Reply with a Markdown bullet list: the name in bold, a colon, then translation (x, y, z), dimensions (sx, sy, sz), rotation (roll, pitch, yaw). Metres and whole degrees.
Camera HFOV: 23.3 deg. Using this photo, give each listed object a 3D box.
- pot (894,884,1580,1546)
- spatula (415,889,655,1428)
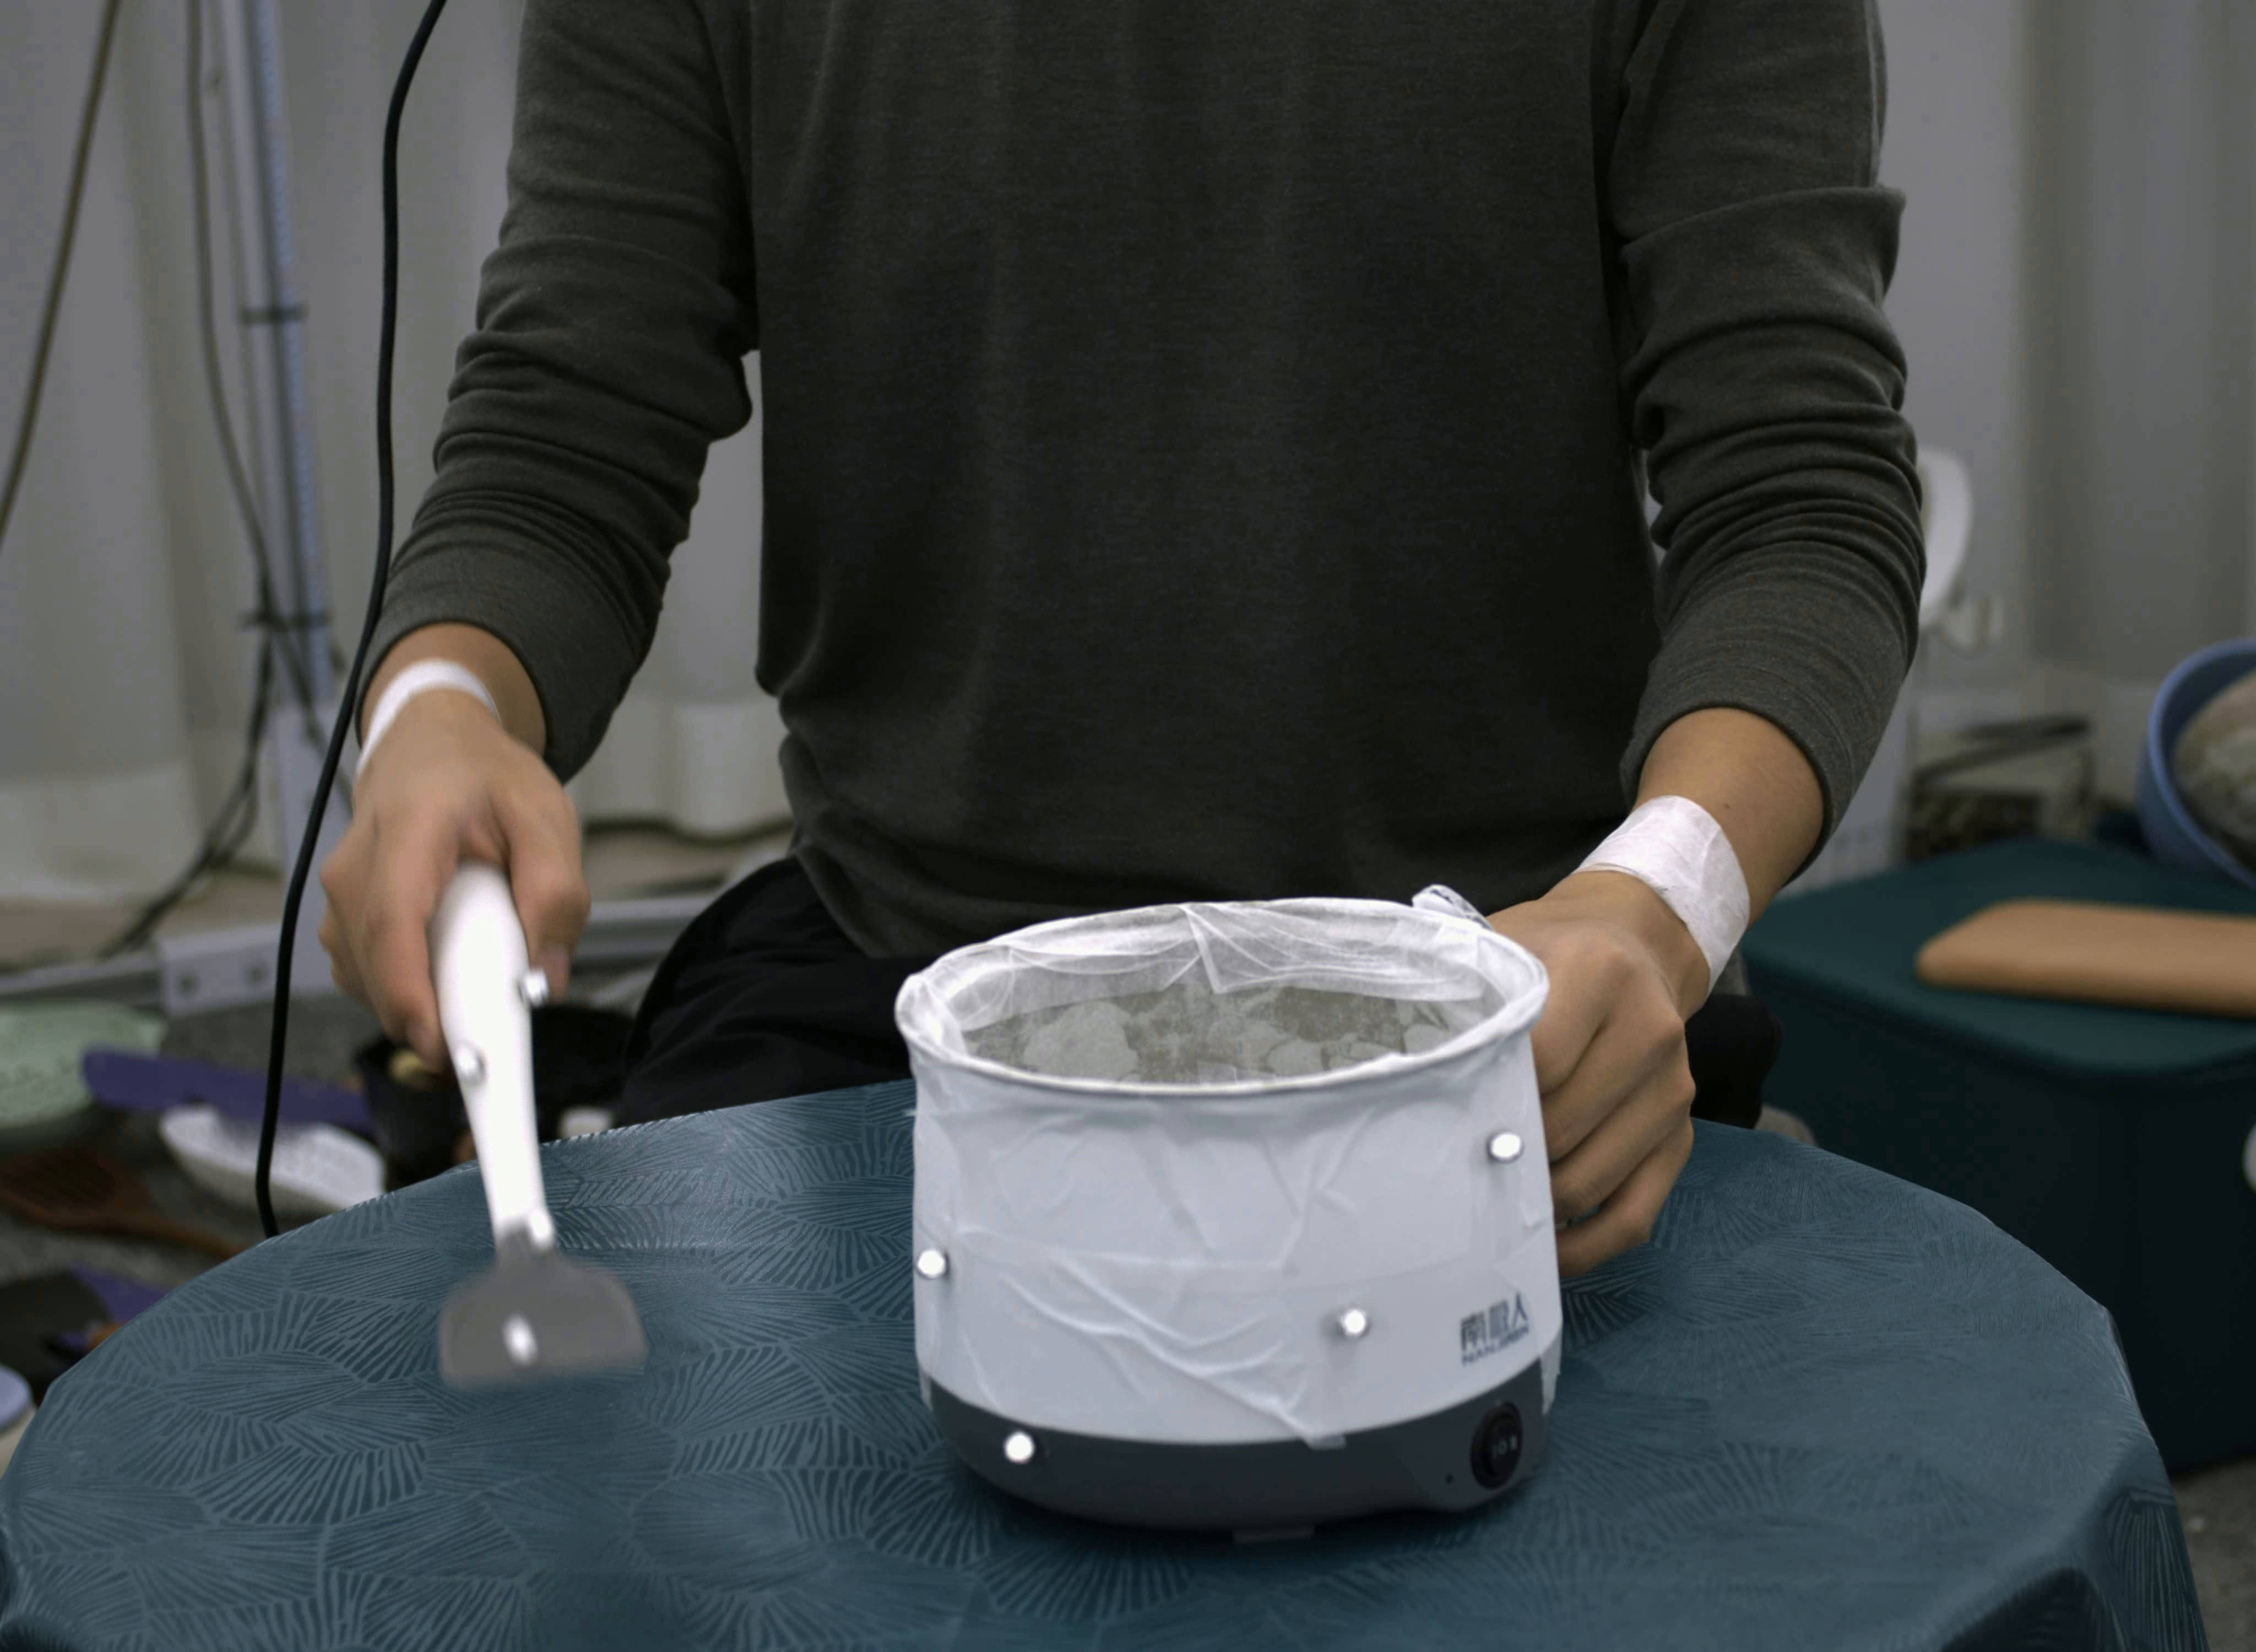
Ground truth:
- **pot**: translation (0.045, 0.099, 1.504), dimensions (0.179, 0.136, 0.233), rotation (9, 18, 37)
- **spatula**: translation (-0.169, 0.094, 1.495), dimensions (0.058, 0.032, 0.291), rotation (-2, 25, -10)
